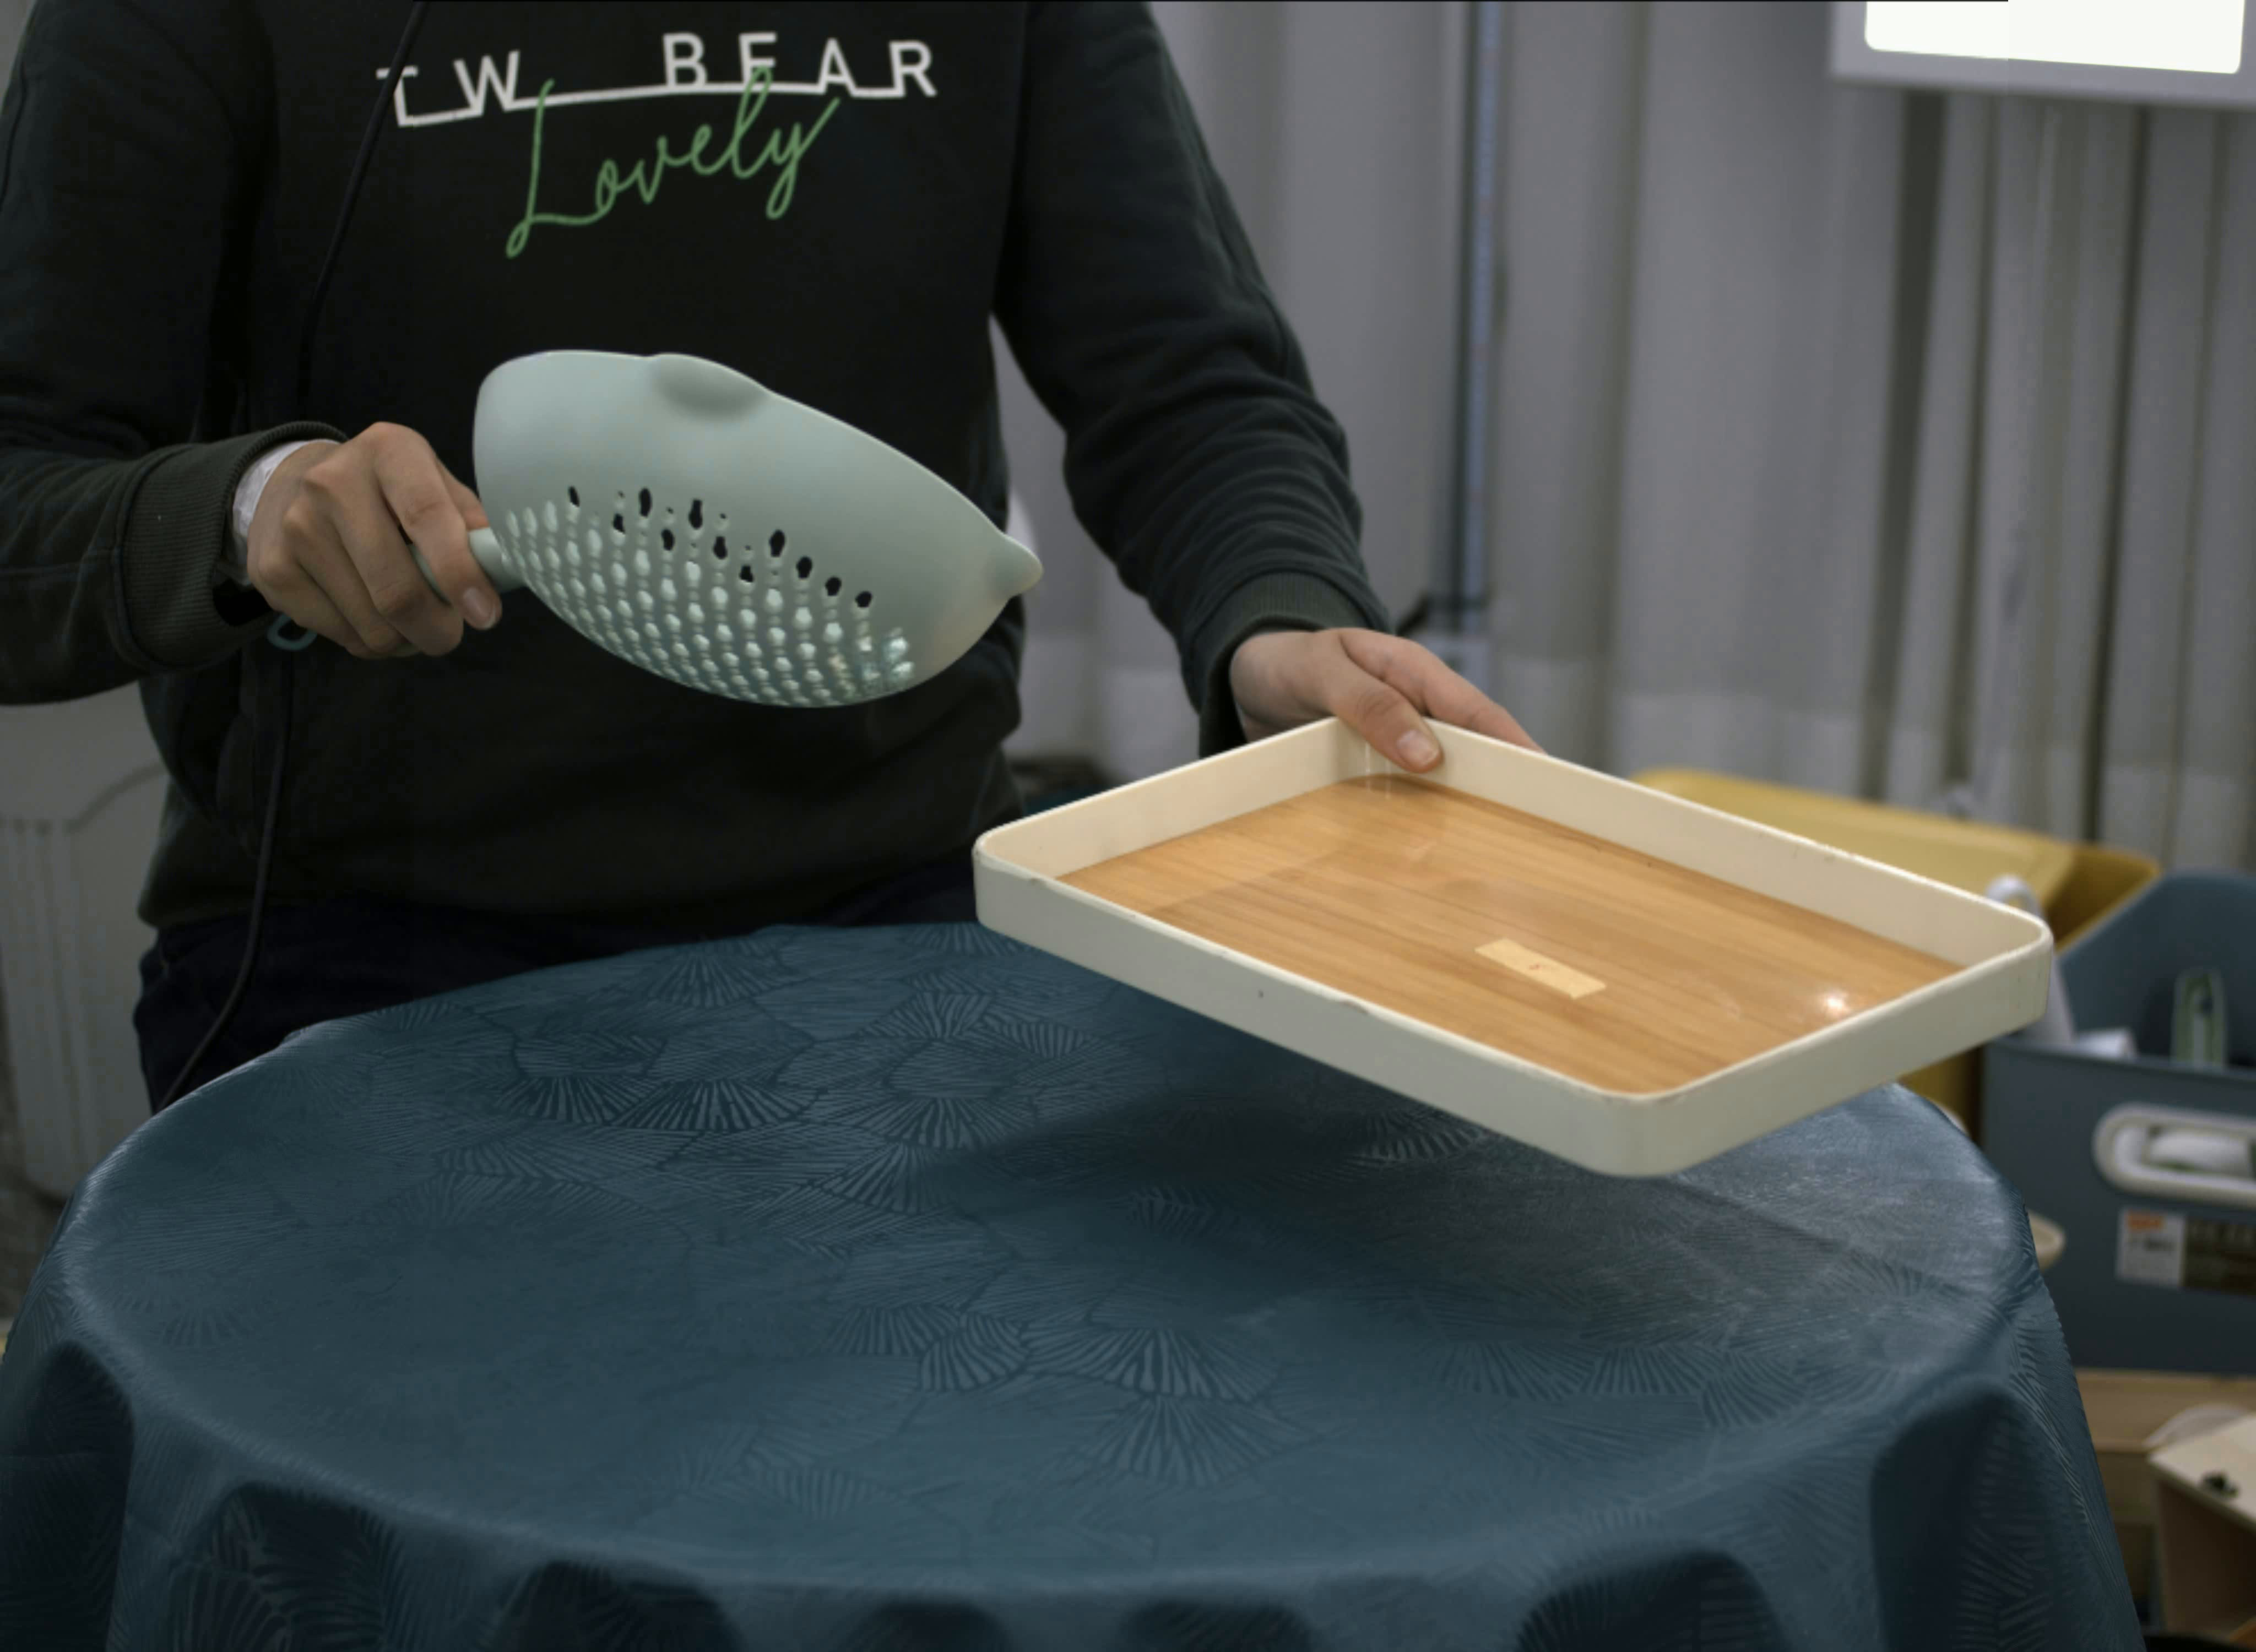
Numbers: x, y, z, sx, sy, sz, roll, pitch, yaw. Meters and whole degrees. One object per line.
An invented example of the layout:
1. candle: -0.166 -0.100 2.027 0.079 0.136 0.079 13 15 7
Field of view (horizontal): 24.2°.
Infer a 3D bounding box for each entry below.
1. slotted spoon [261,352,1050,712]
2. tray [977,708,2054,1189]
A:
1. slotted spoon: -0.175 -0.080 1.629 0.171 0.075 0.355 31 -14 -32
2. tray: 0.114 0.032 1.615 0.192 0.027 0.296 -18 28 -38
